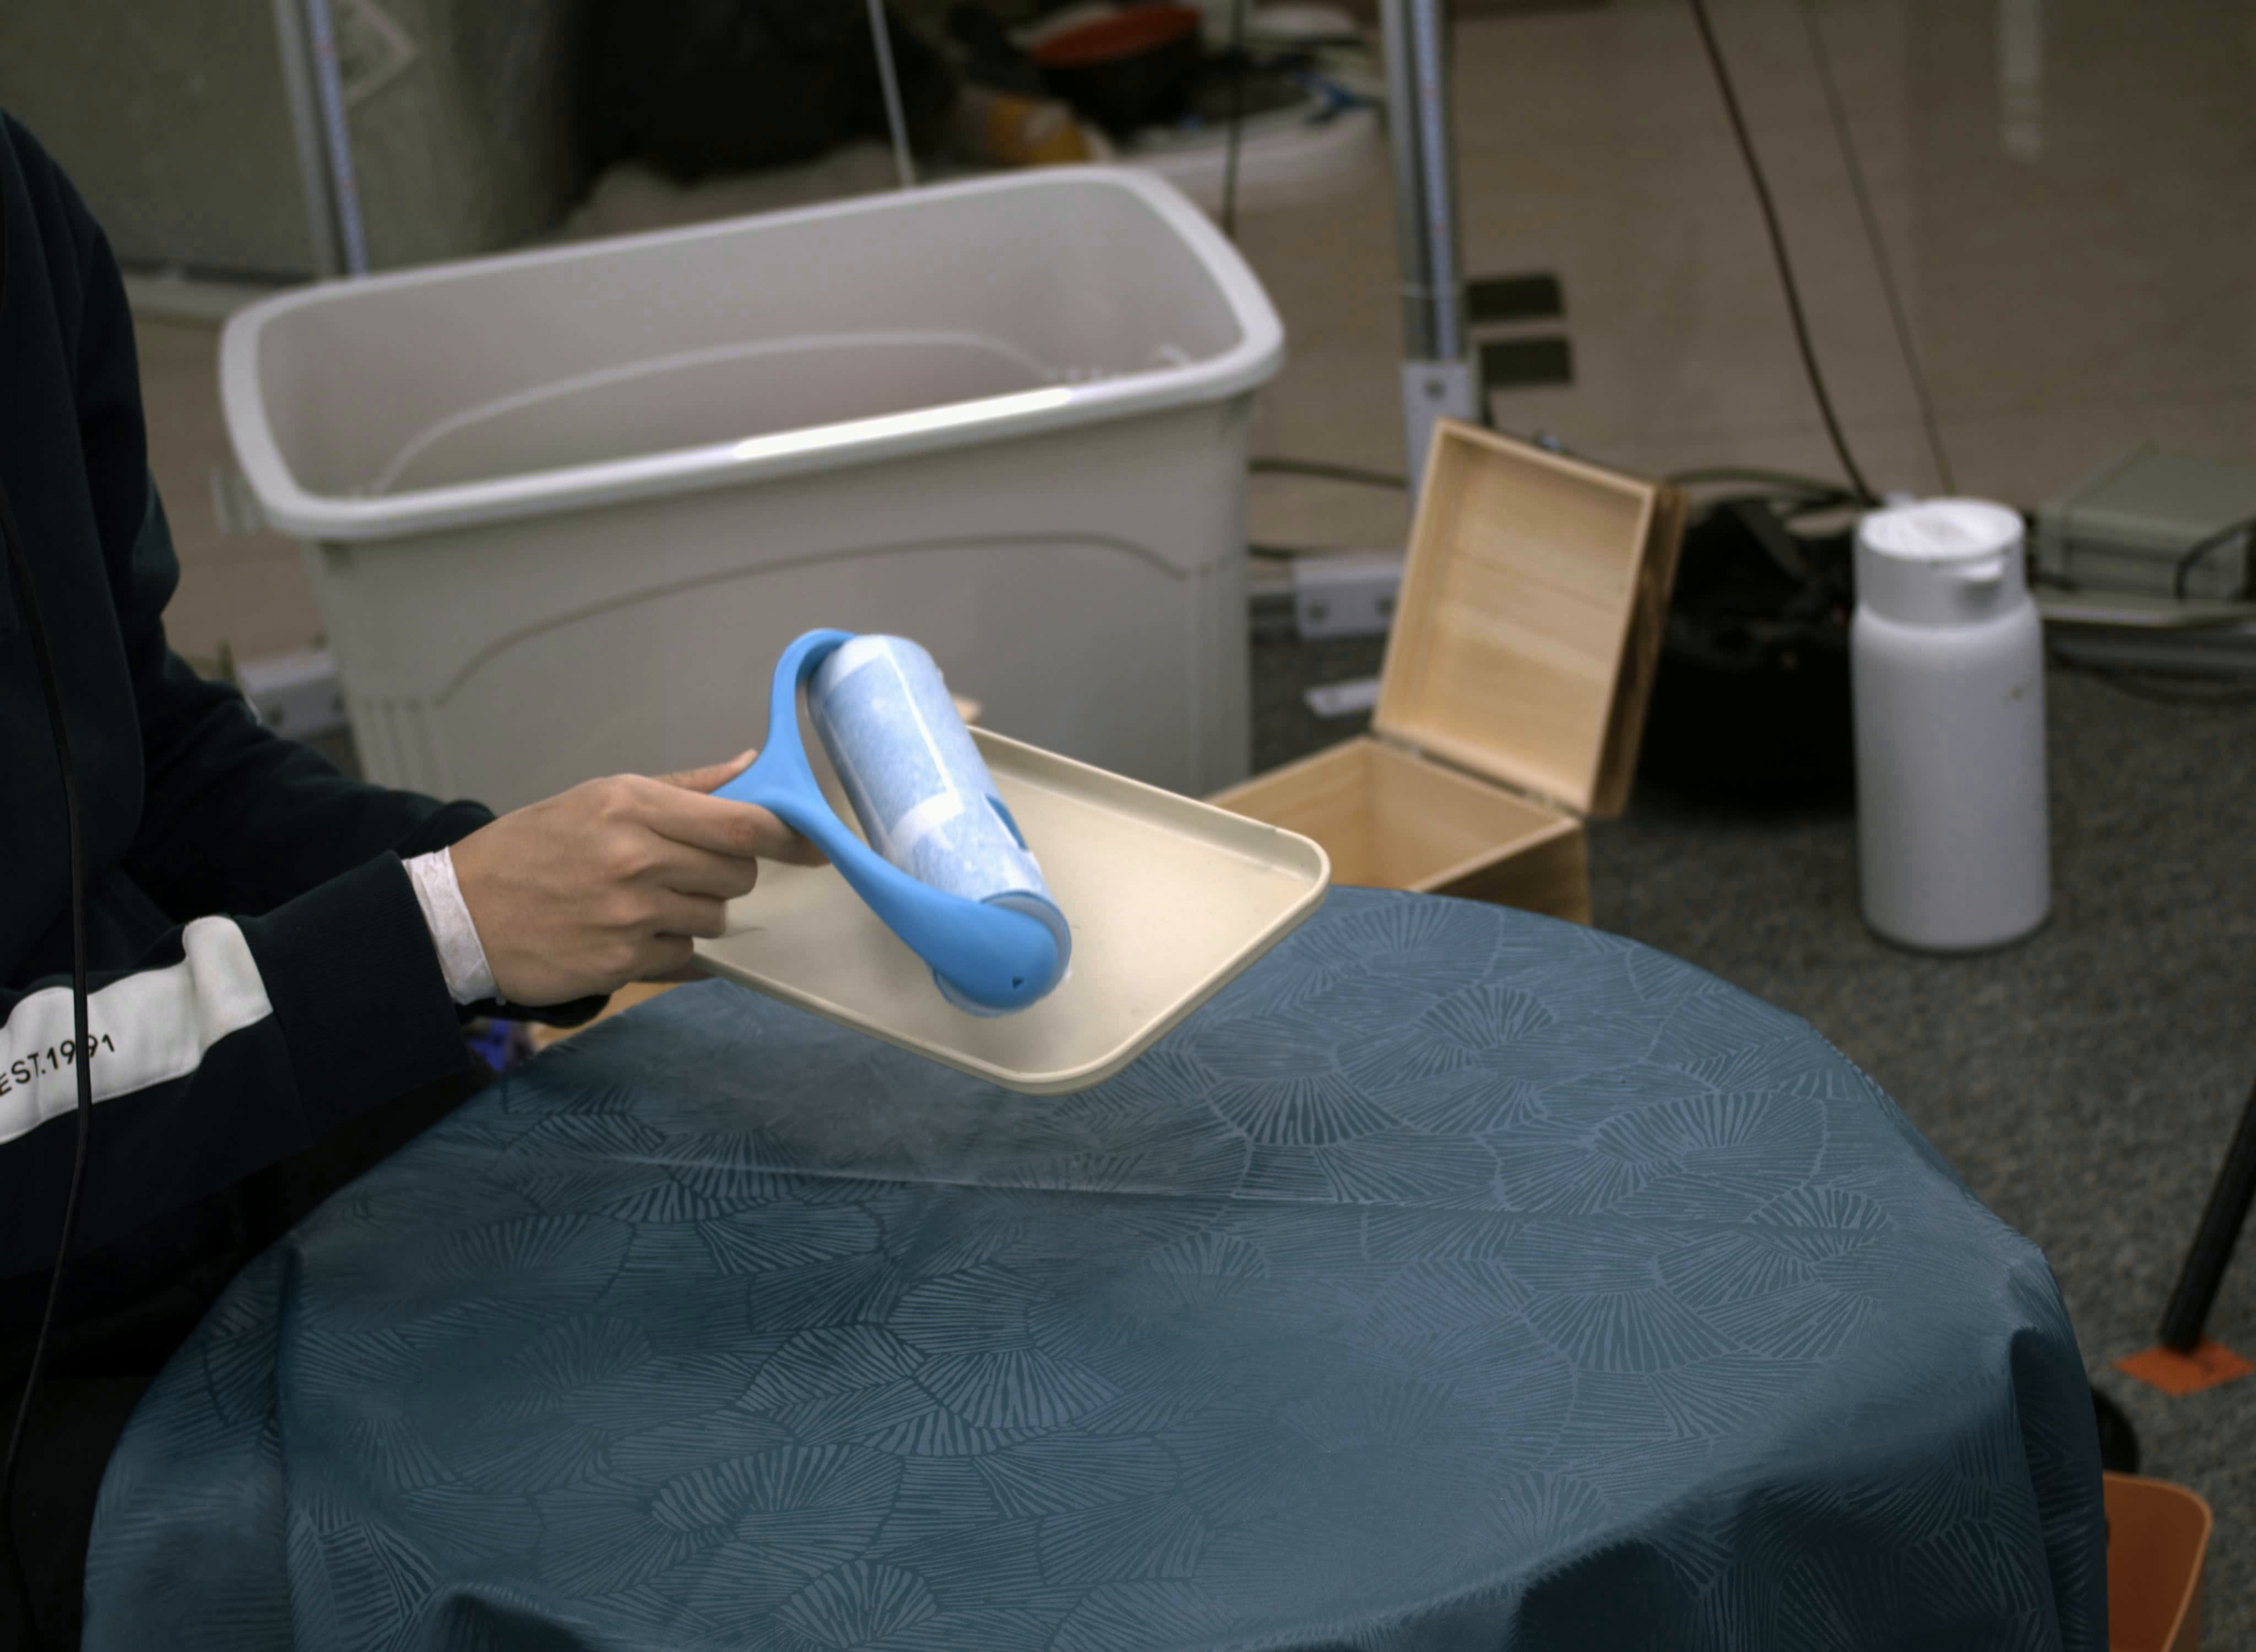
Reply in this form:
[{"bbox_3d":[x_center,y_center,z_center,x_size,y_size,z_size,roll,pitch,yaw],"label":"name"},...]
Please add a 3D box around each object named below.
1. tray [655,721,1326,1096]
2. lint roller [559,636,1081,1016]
[{"bbox_3d":[-0.053,0.031,2.162,0.238,0.018,0.169,19,46,41],"label":"tray"},{"bbox_3d":[-0.127,0.011,2.117,0.179,0.069,0.225,-14,36,-14],"label":"lint roller"}]
